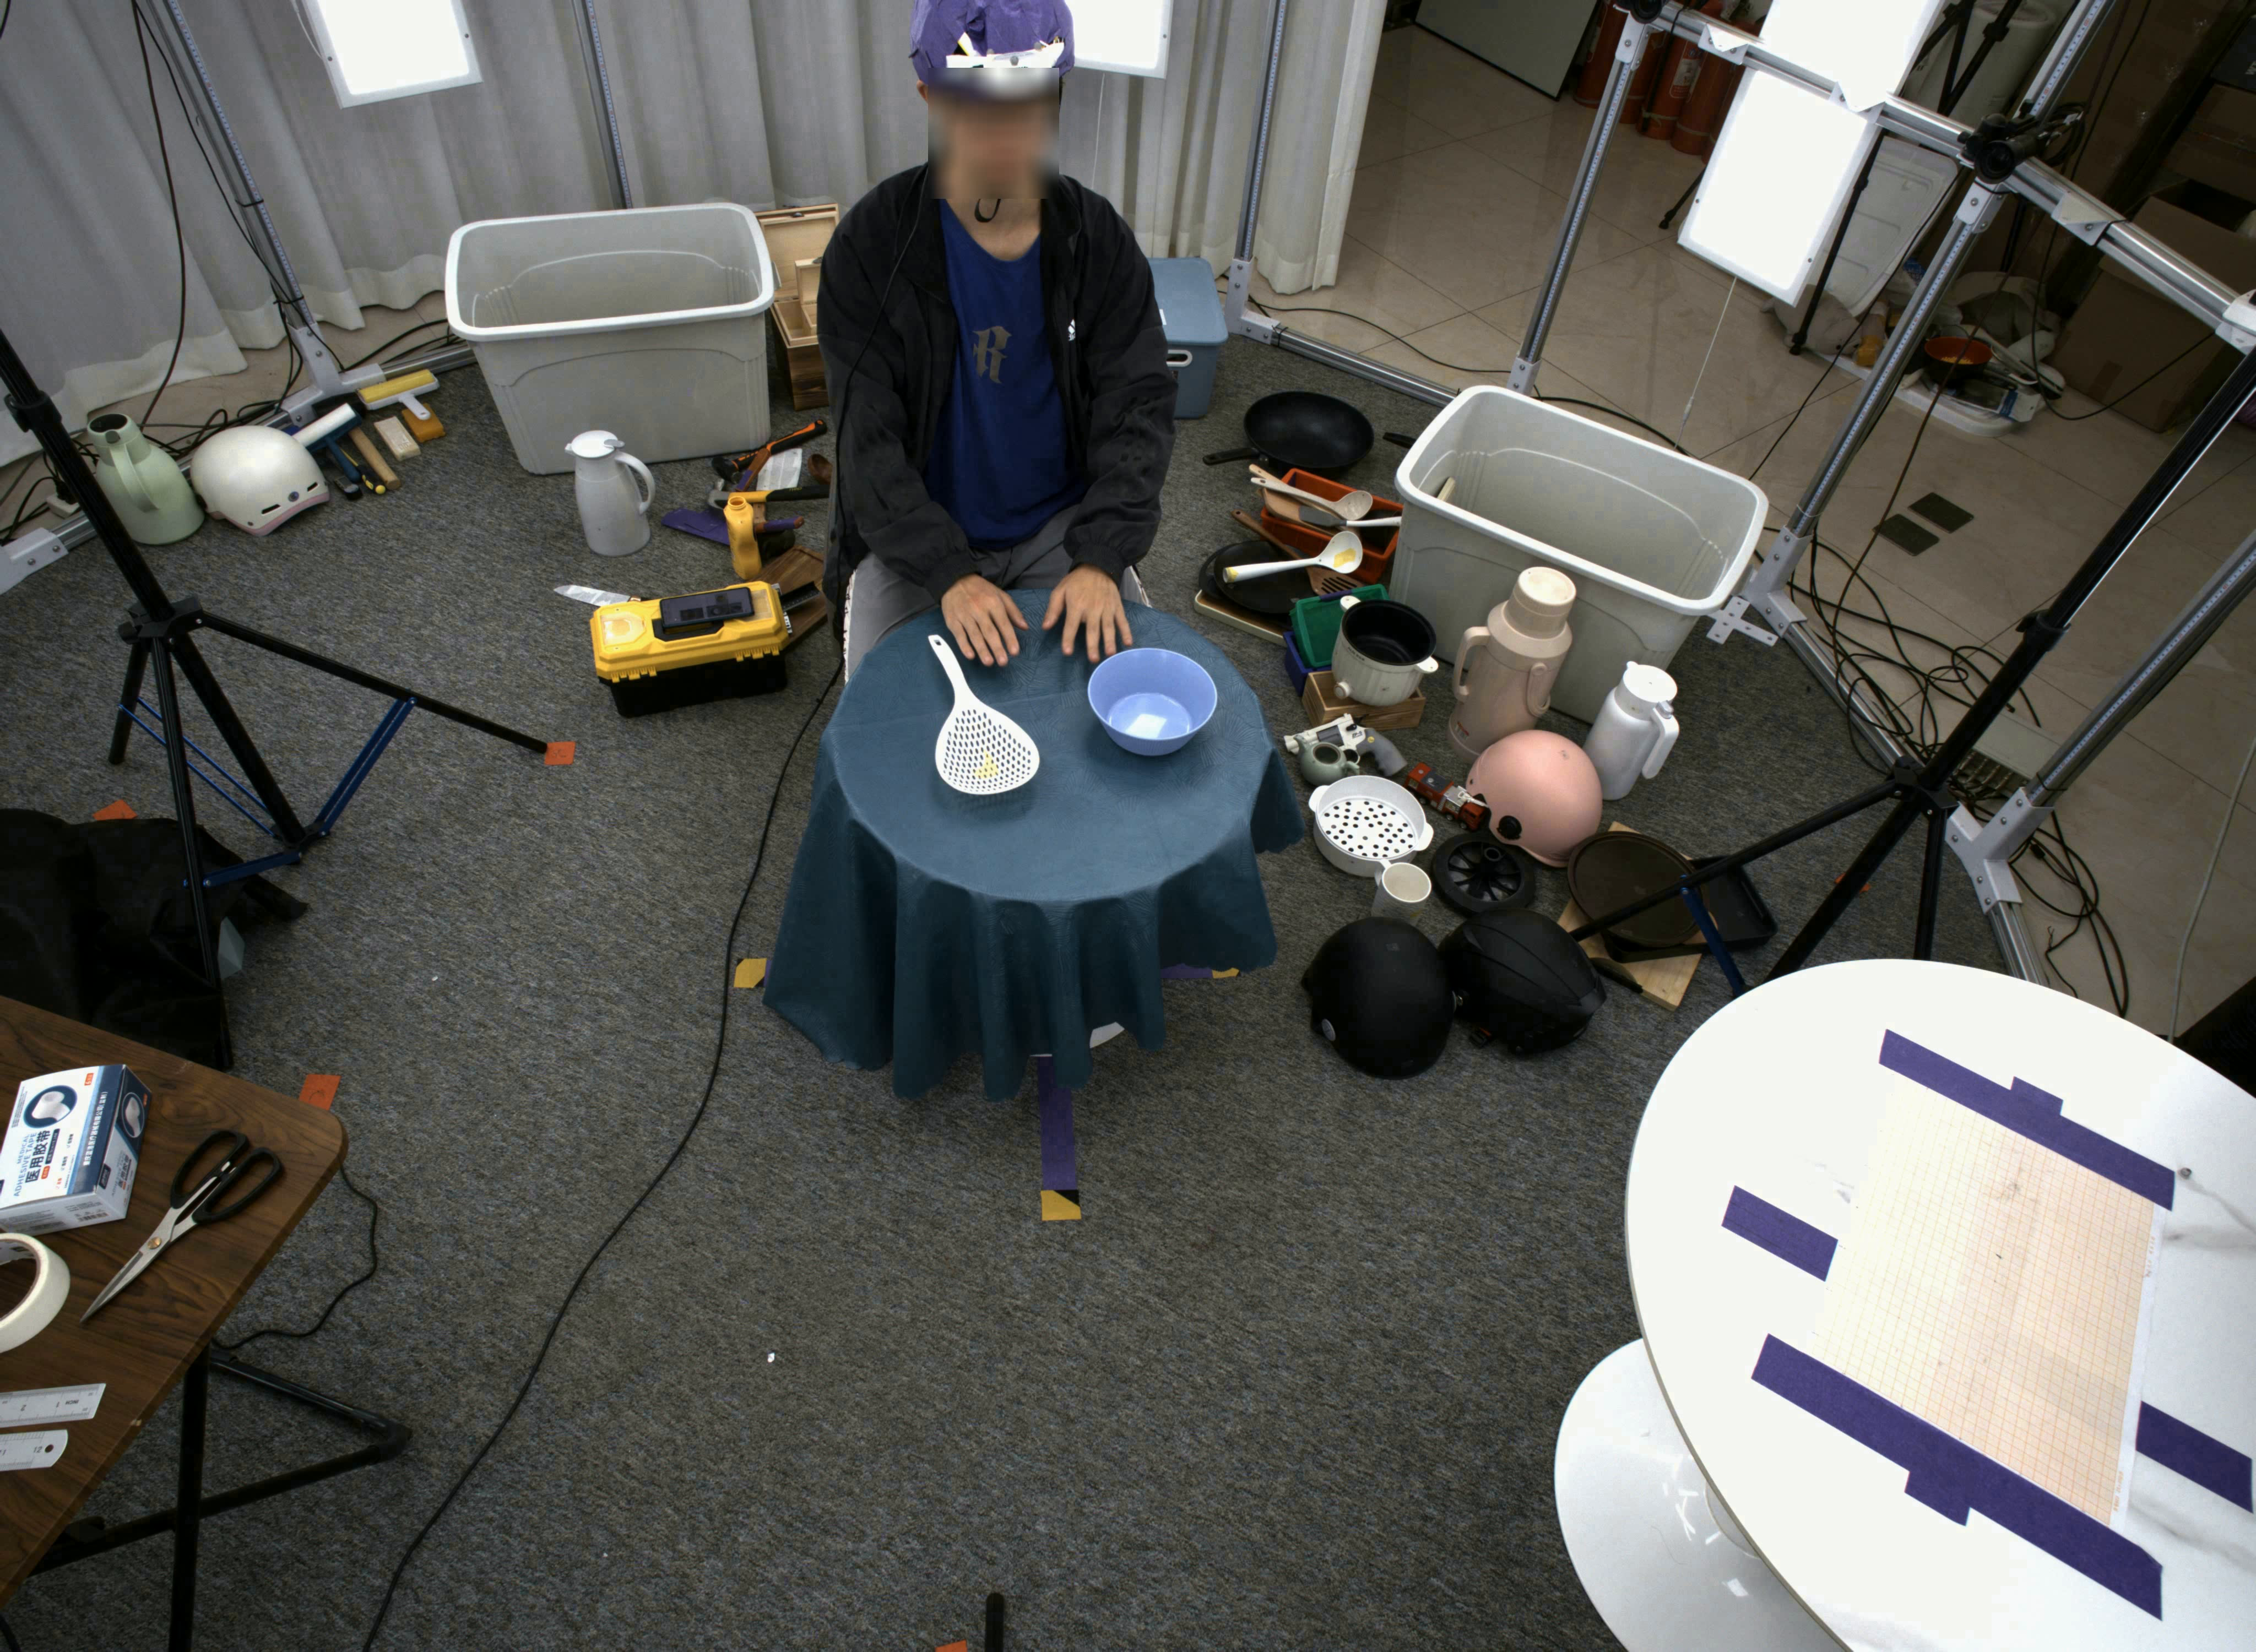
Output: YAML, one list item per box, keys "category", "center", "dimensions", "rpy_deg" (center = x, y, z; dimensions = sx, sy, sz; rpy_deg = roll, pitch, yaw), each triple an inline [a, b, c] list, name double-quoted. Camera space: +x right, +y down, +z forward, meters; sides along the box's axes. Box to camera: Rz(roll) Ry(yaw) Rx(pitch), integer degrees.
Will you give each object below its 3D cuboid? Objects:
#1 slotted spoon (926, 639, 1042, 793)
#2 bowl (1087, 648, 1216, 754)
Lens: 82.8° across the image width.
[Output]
- category: "slotted spoon"
  center: [-0.222, -0.163, 1.772]
  dimensions: [0.137, 0.049, 0.356]
  rpy_deg: [-16, 52, -12]
- category: "bowl"
  center: [0.030, -0.164, 1.771]
  dimensions: [0.176, 0.068, 0.180]
  rpy_deg: [2, 49, -3]
